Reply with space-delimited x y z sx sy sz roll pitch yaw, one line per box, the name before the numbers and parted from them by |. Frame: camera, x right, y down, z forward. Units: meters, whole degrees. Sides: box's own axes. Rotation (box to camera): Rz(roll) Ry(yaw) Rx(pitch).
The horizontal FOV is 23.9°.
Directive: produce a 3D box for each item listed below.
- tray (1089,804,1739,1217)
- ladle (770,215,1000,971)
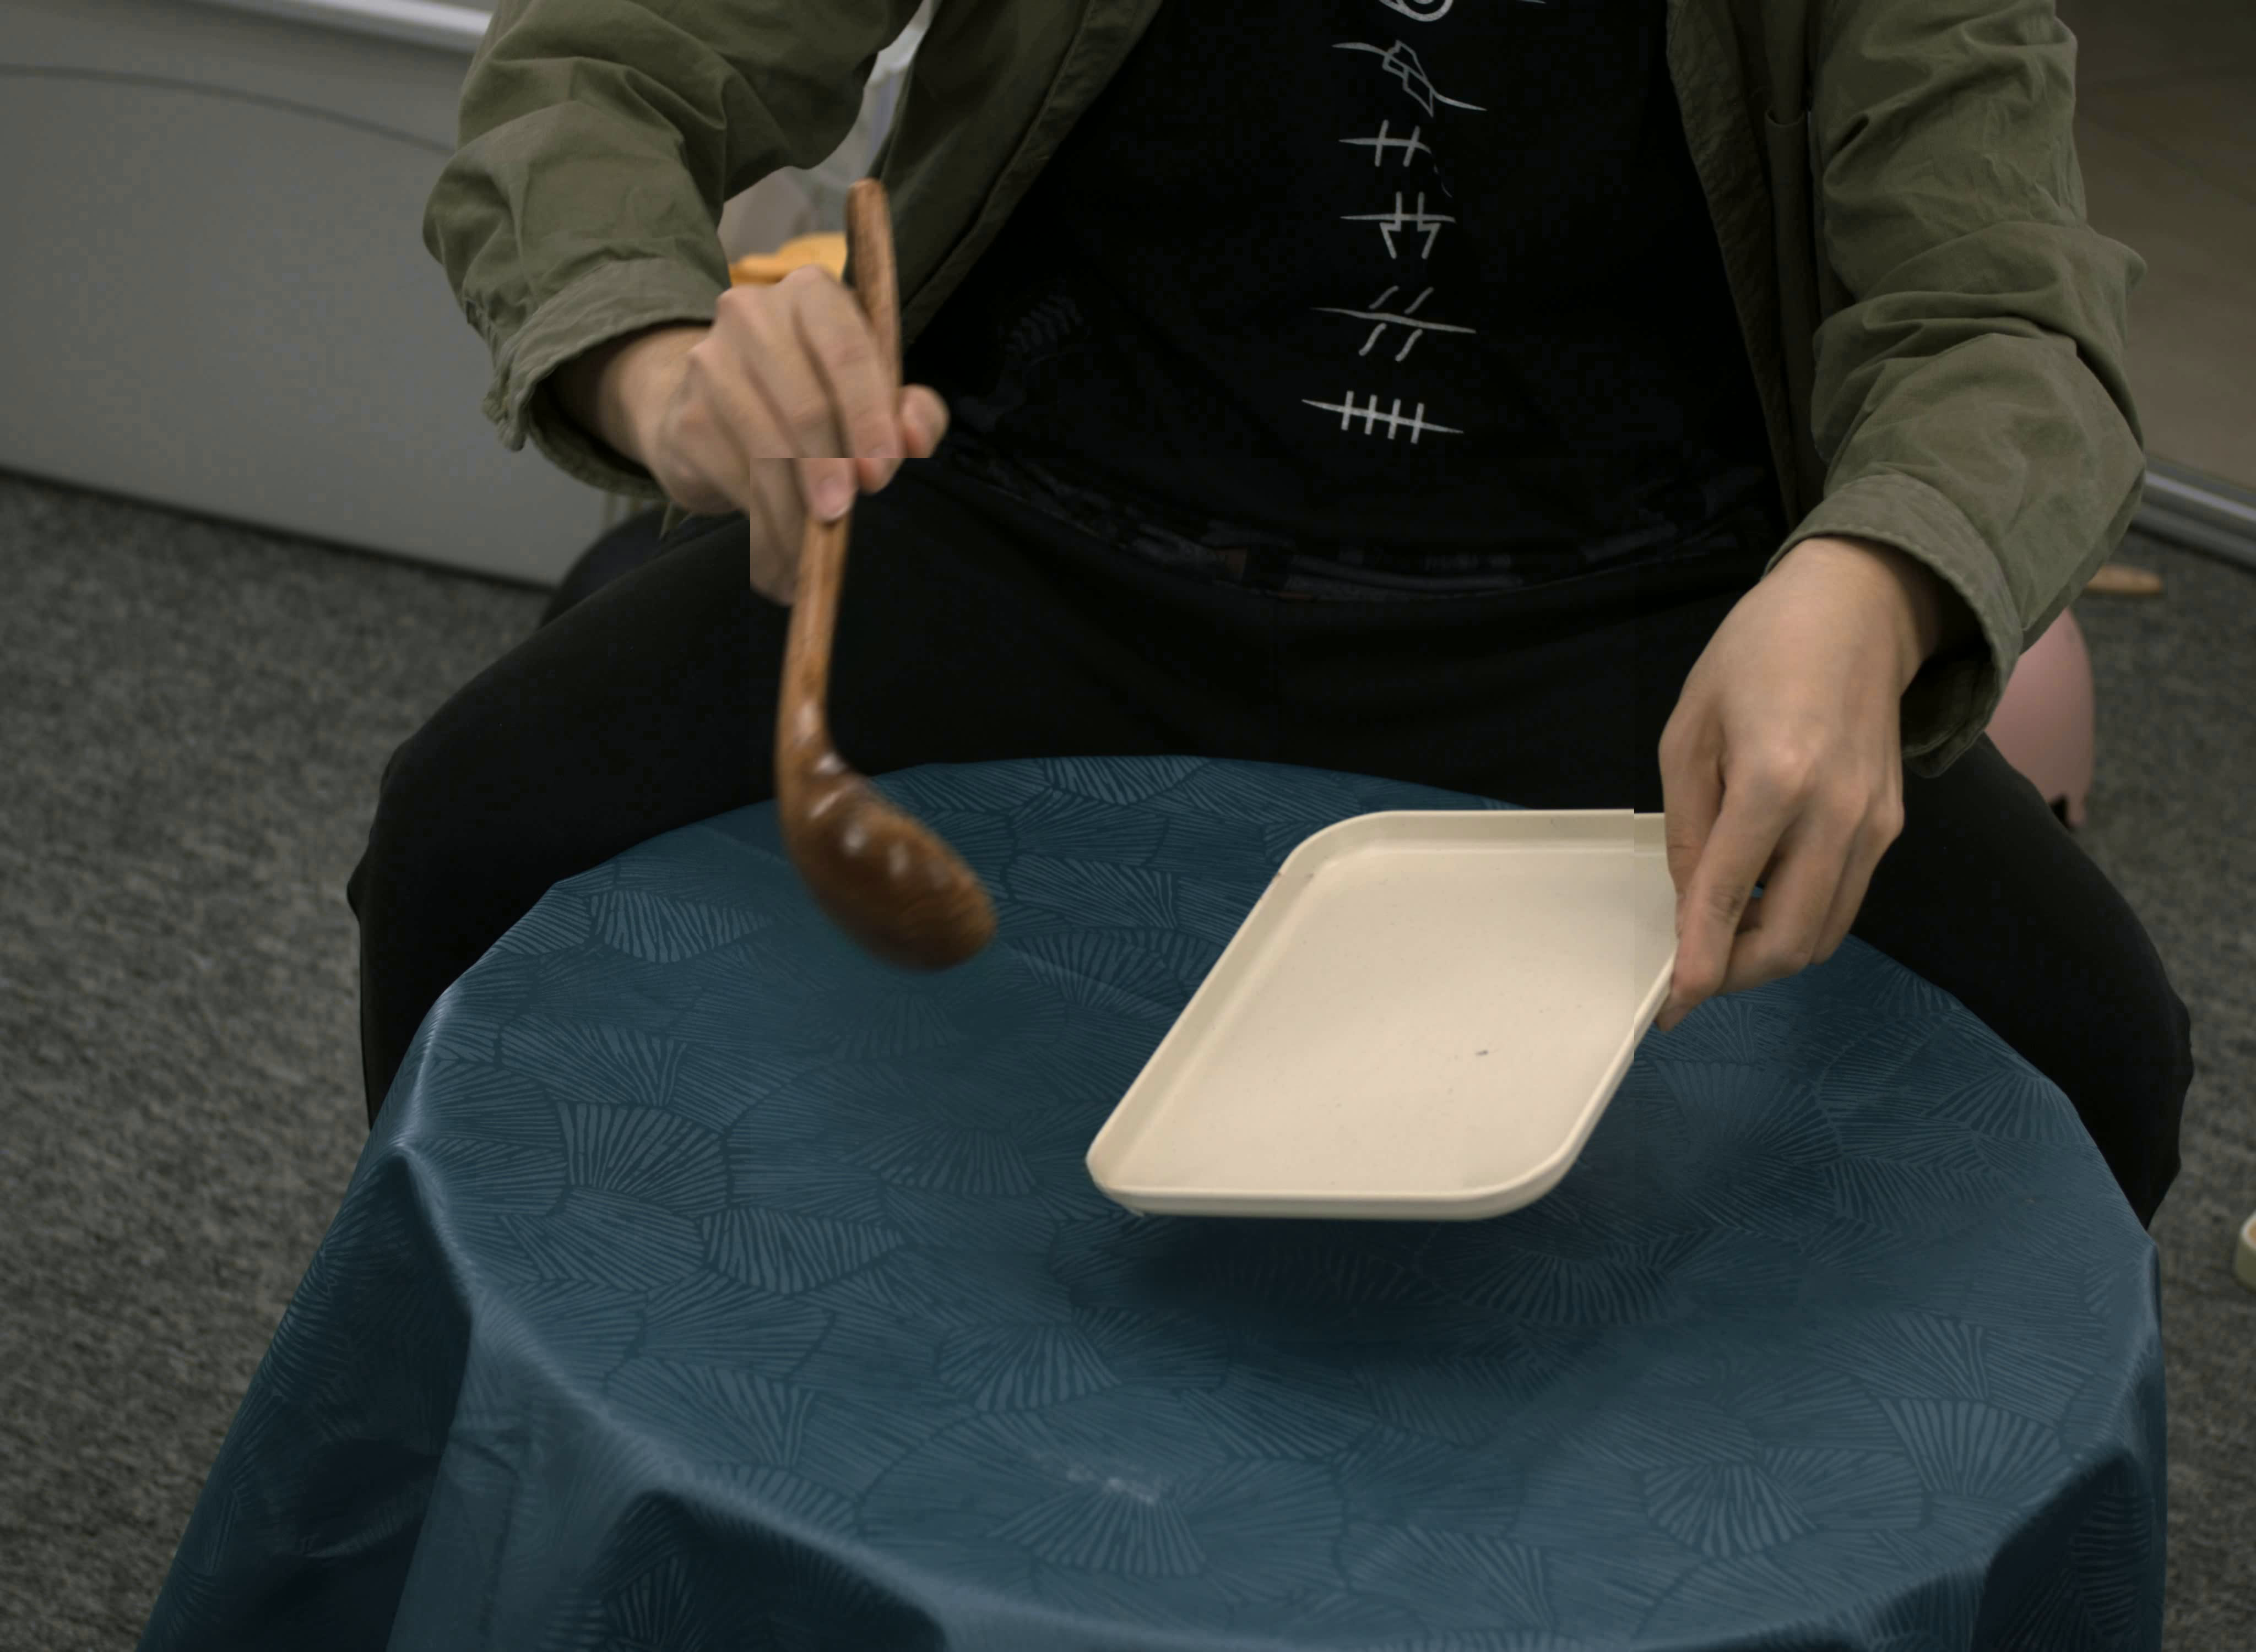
tray | 0.099 0.061 1.778 0.172 0.017 0.240 -1 30 27
ladle | -0.076 -0.082 1.765 0.076 0.081 0.276 5 63 -7
